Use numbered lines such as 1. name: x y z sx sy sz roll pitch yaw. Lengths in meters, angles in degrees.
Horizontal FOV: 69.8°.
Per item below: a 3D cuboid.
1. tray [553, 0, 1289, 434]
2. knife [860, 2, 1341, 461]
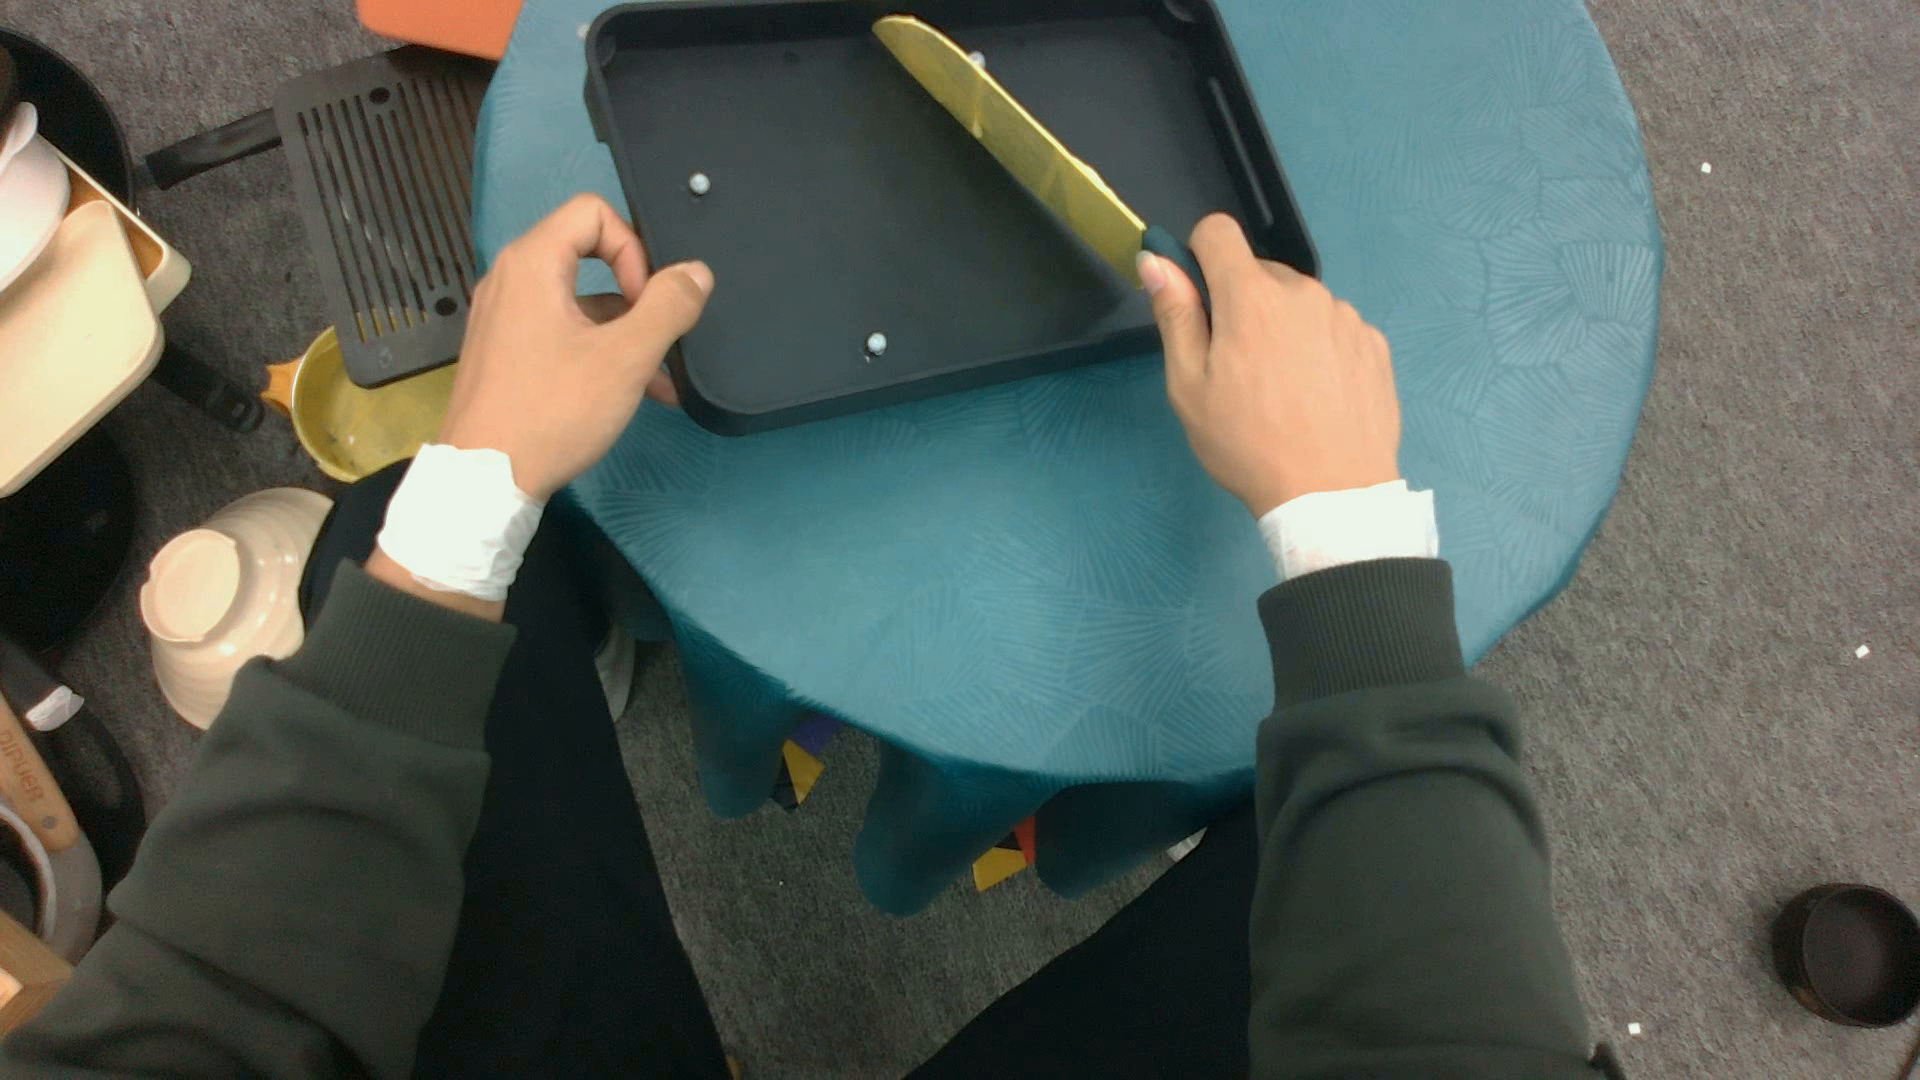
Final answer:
1. tray: -0.007 -0.165 0.624 0.319 0.037 0.184 -16 81 -27
2. knife: 0.058 -0.139 0.613 0.289 0.081 0.027 44 92 2
